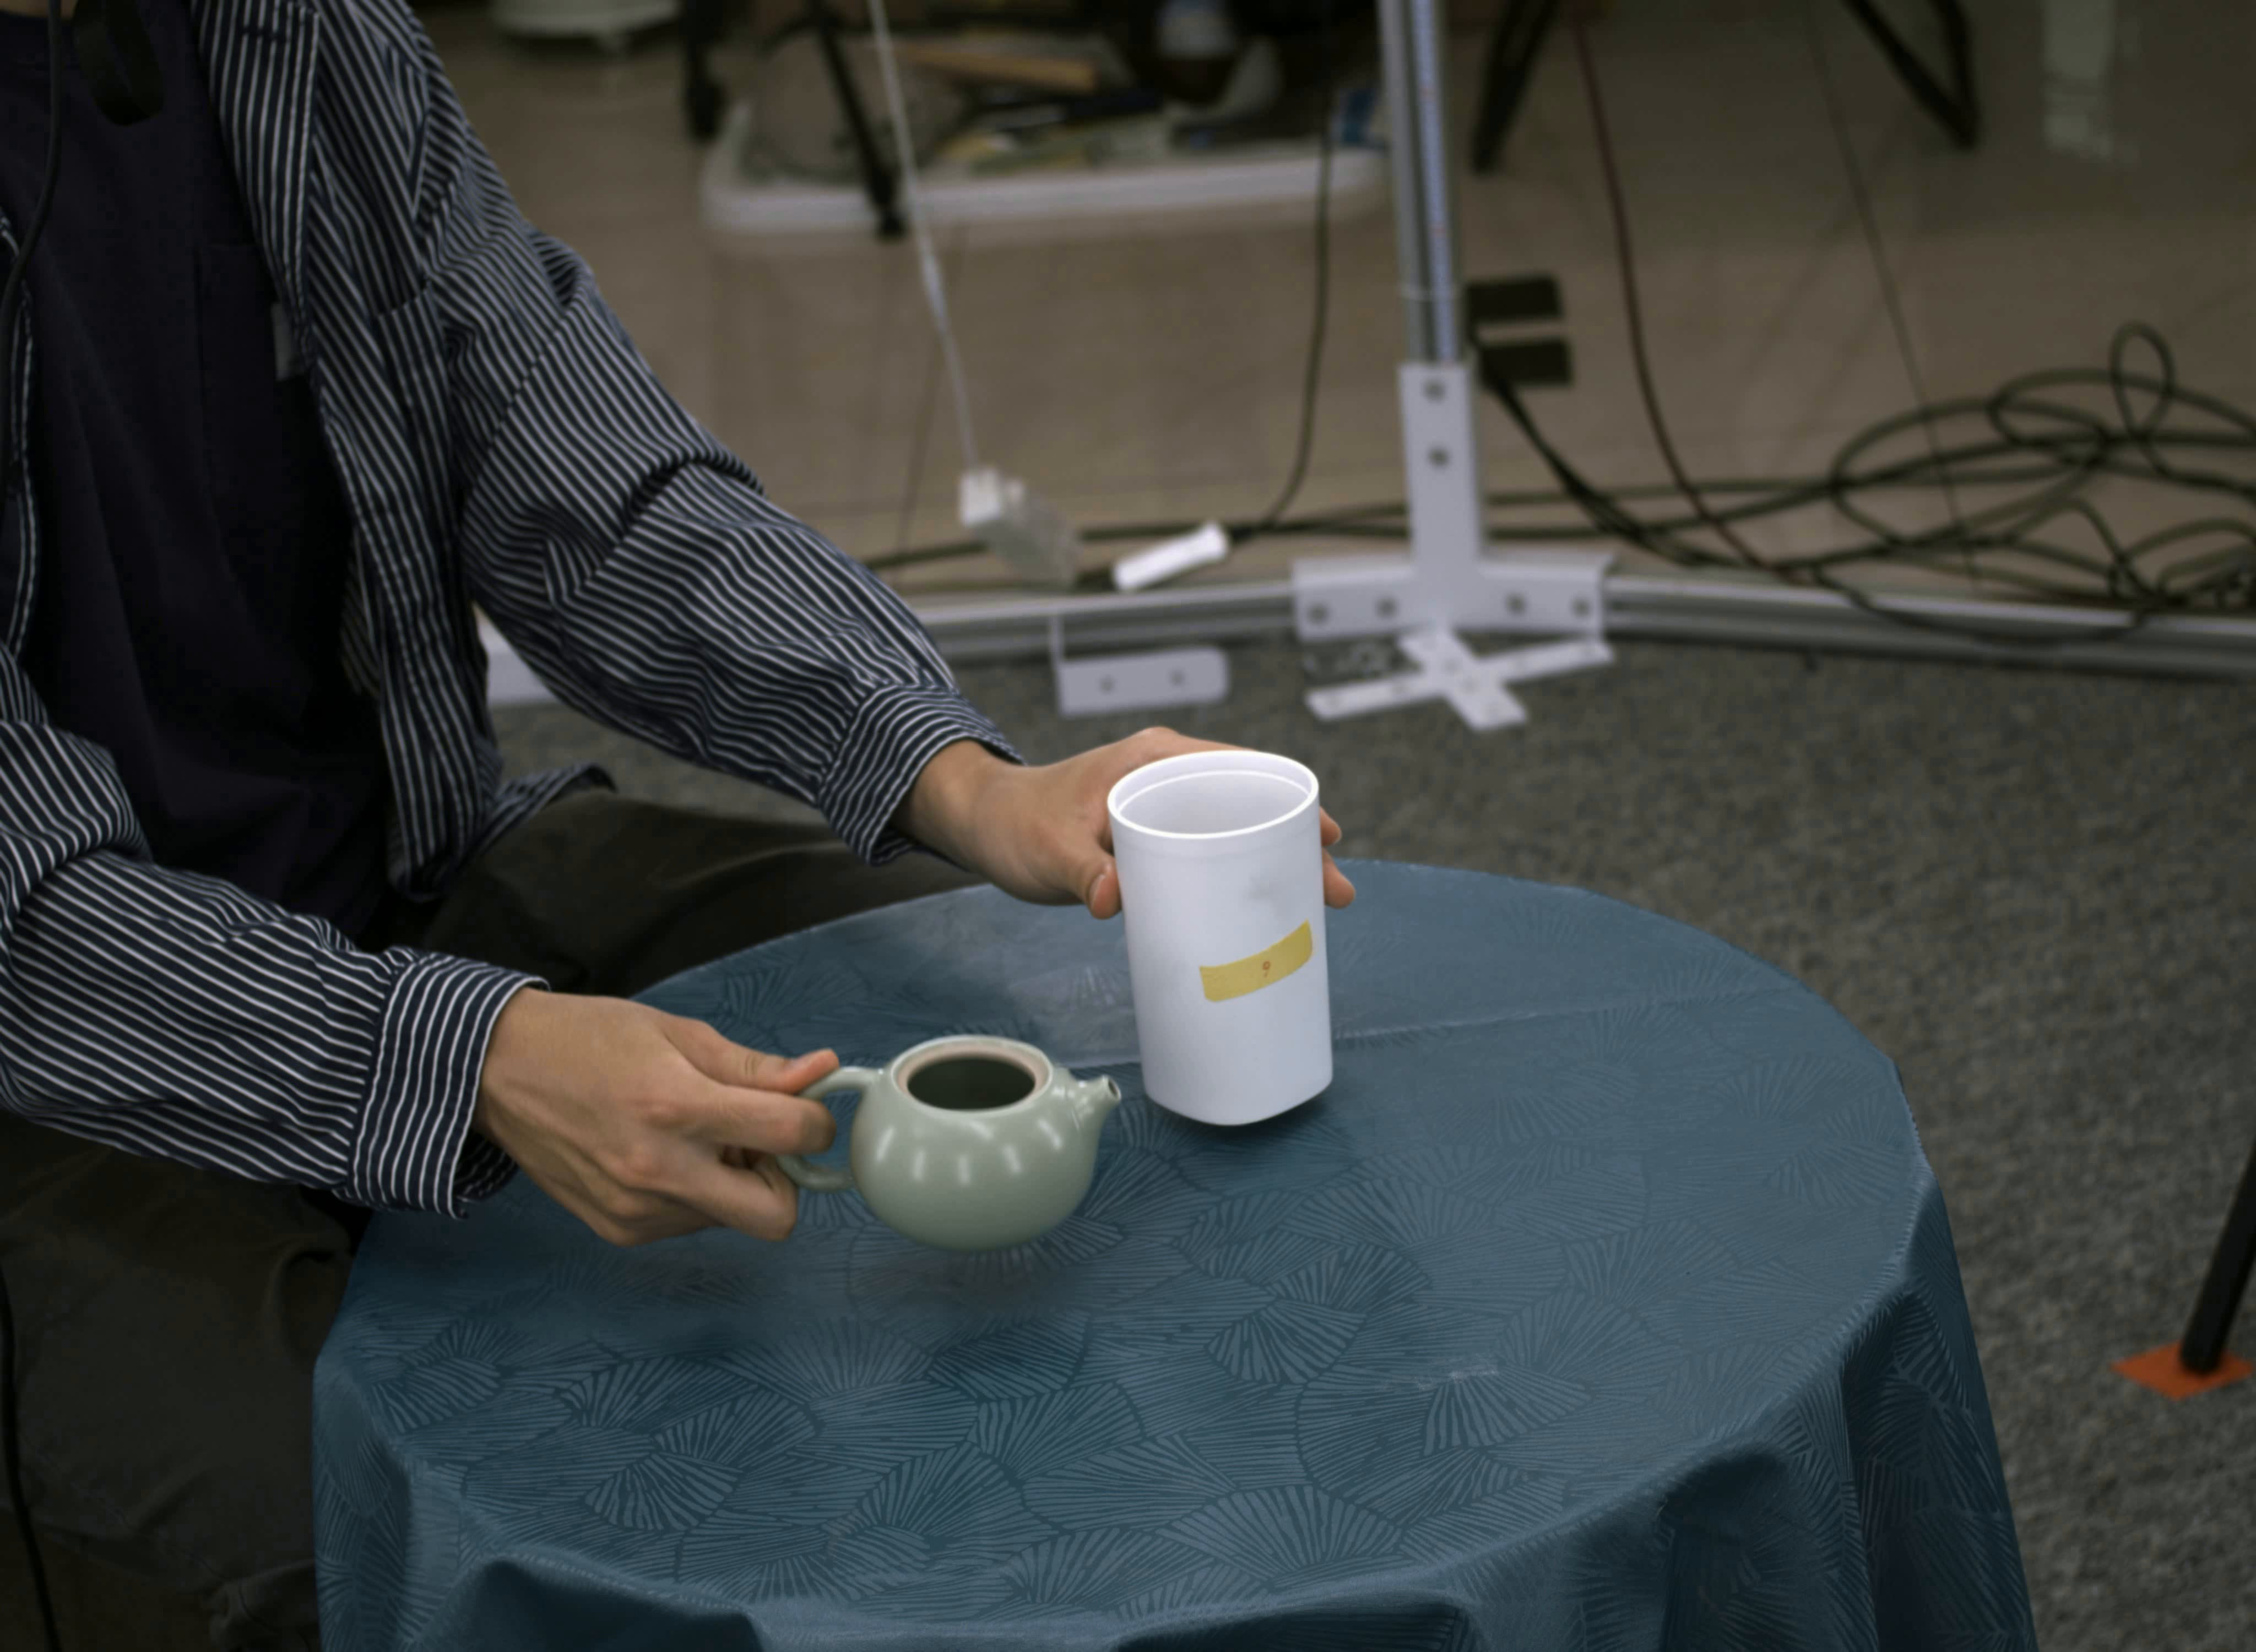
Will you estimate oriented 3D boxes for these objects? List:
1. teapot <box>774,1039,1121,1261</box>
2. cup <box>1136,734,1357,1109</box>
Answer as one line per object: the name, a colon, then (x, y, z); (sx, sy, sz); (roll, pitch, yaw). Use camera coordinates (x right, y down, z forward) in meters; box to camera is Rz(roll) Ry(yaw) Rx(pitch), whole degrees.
teapot: (-0.066, 0.118, 2.075); (0.128, 0.062, 0.090); (5, 30, 8)
cup: (0.048, 0.038, 2.179); (0.081, 0.127, 0.080); (-4, 25, 2)
